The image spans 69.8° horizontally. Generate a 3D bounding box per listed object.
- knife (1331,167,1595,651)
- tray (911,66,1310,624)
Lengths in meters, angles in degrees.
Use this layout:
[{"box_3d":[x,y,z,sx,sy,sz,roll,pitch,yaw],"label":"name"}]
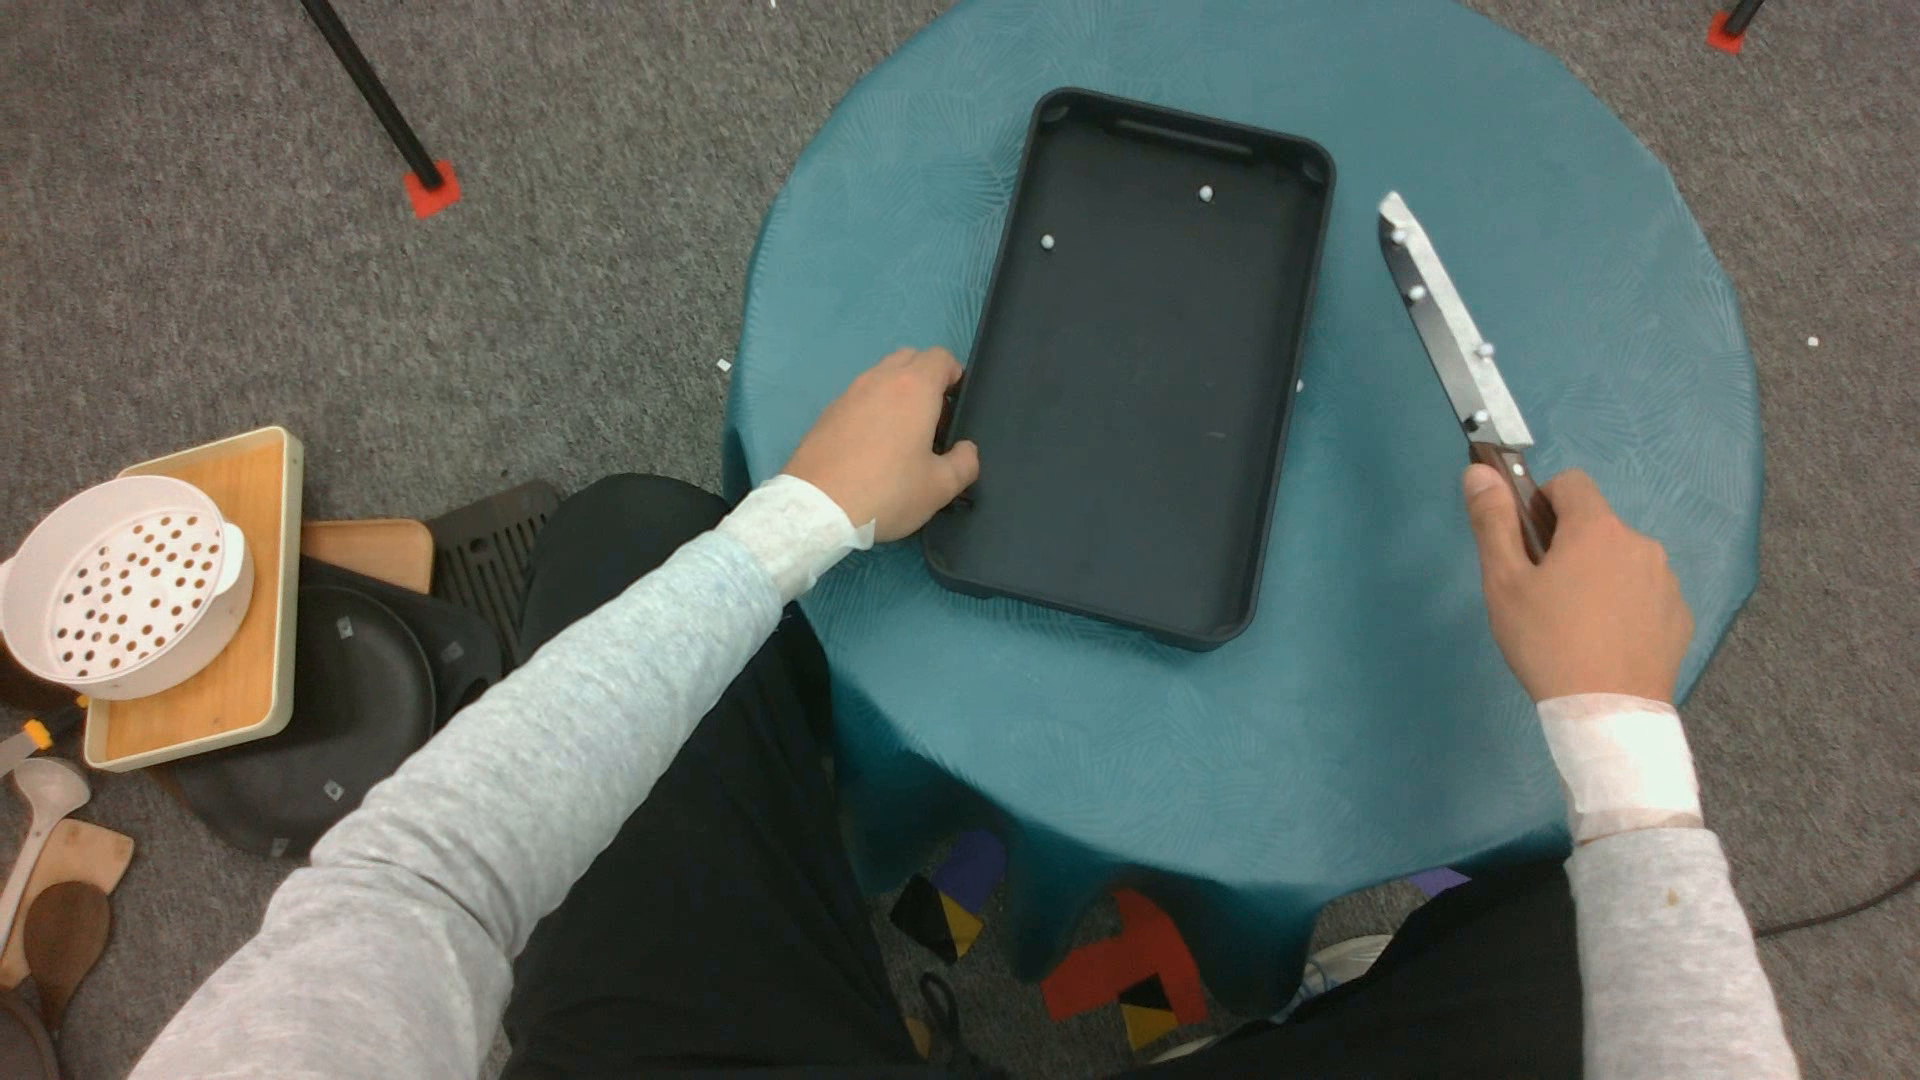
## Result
[{"box_3d":[0.253,-0.077,0.710,0.050,0.020,0.290,-6,66,-30],"label":"knife"},{"box_3d":[0.090,-0.118,0.788,0.184,0.037,0.319,12,71,1],"label":"tray"}]
